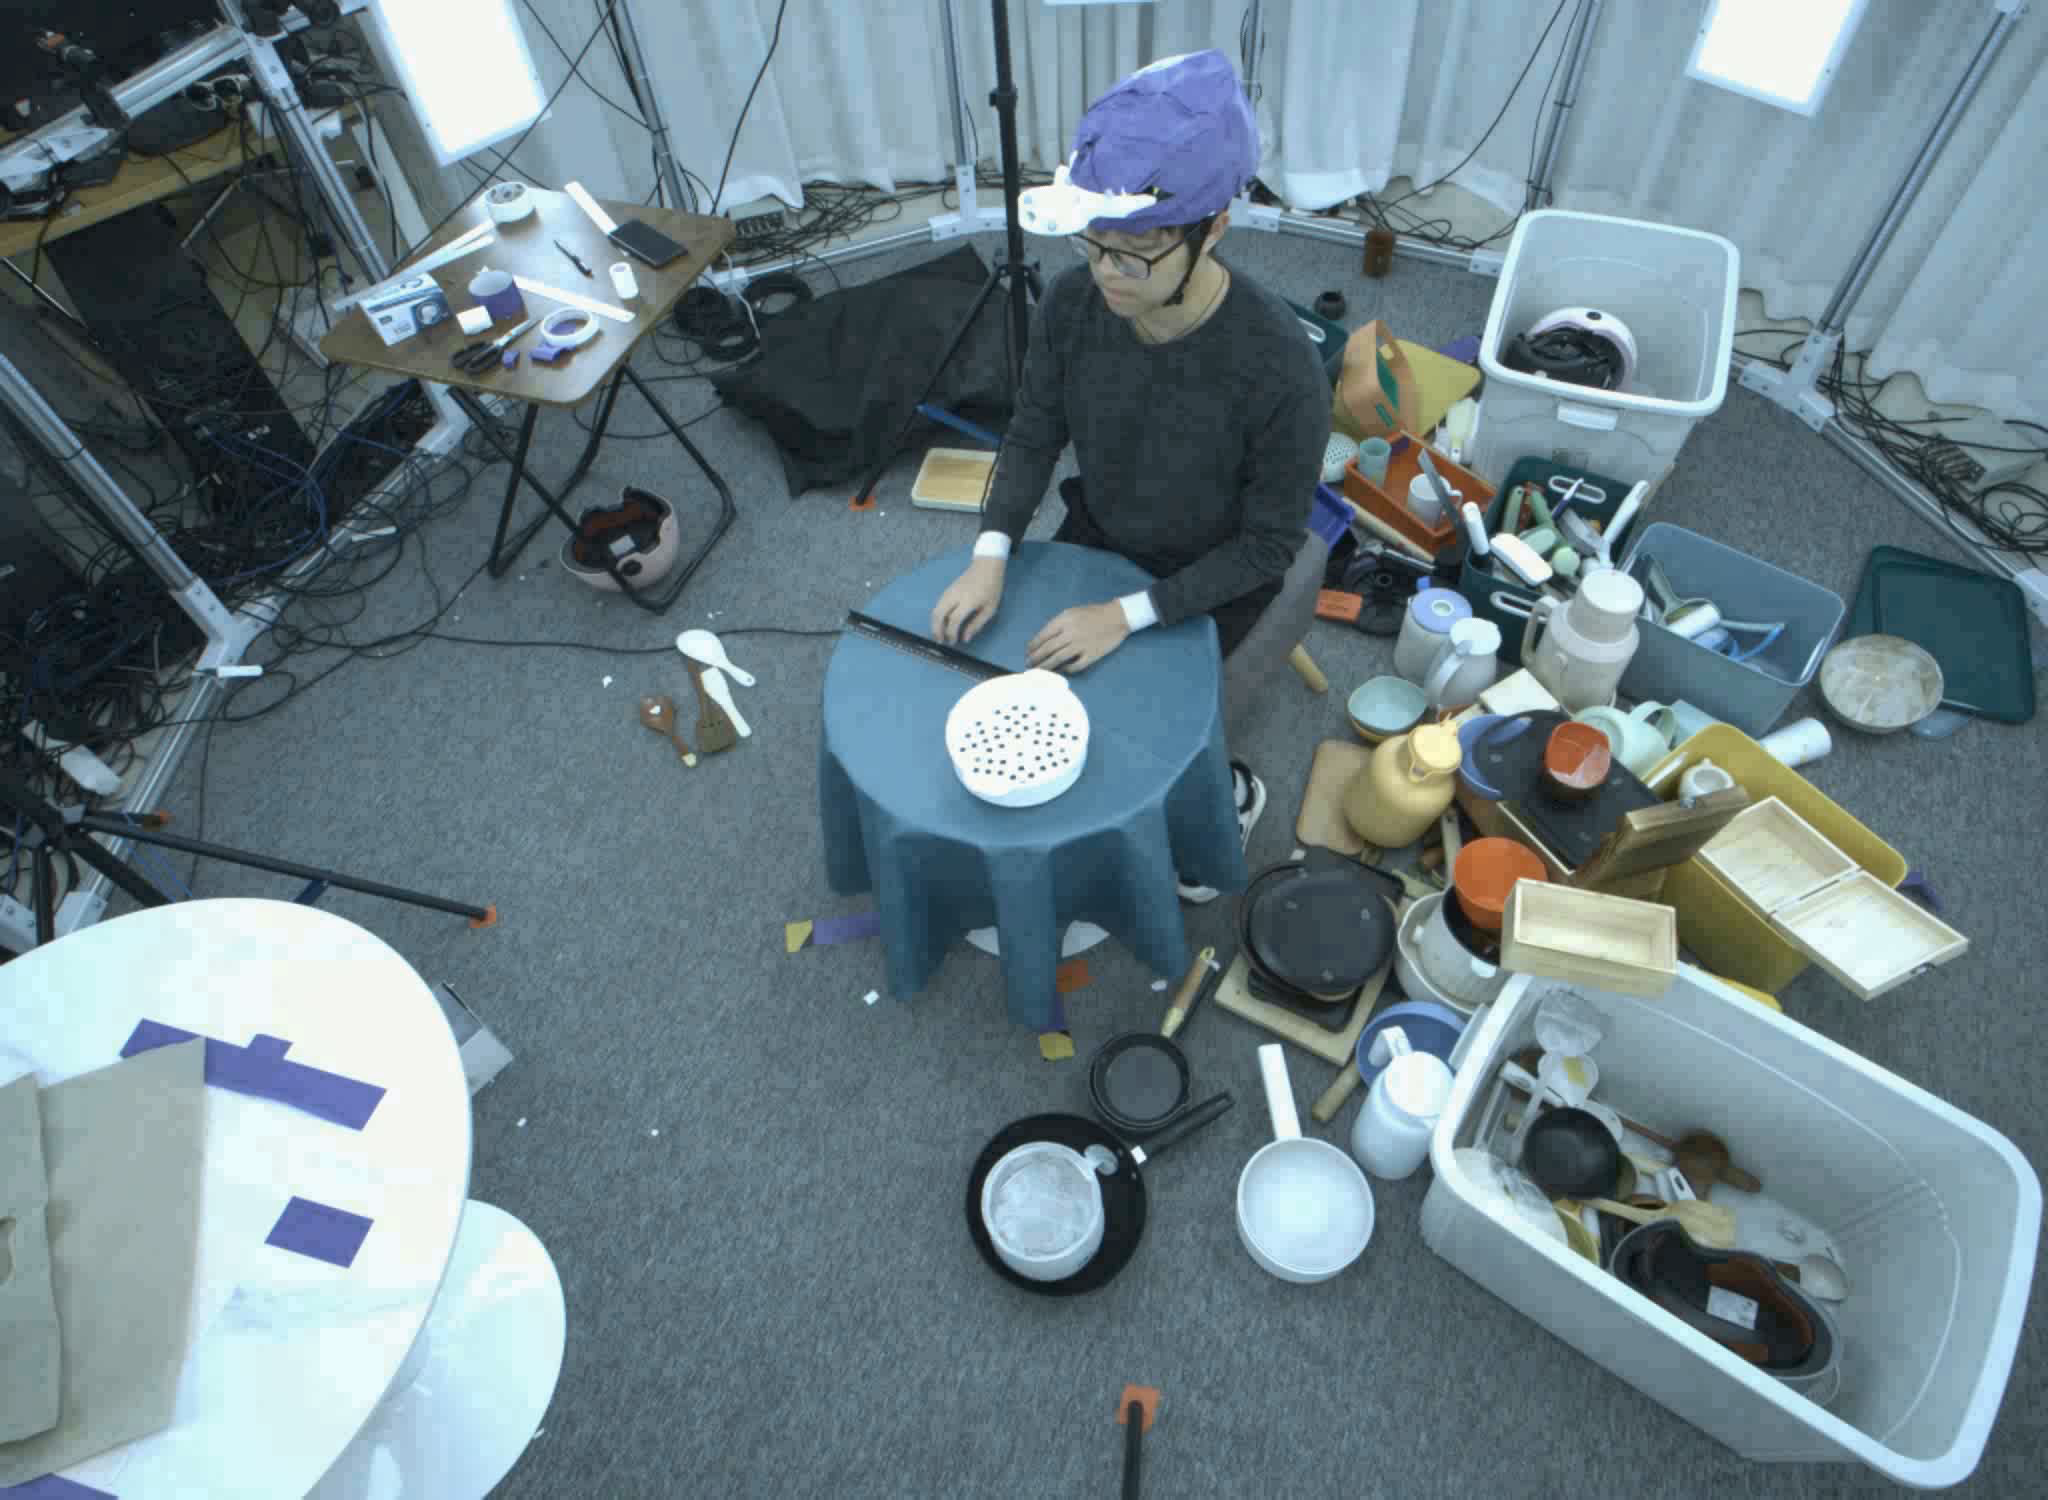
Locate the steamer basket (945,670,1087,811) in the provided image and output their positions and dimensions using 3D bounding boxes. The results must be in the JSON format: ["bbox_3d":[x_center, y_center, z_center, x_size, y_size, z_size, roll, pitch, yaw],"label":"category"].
[{"bbox_3d":[-0.010,-0.008,1.752,0.199,0.070,0.230,19,60,15],"label":"steamer basket"}]

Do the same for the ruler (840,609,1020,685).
[{"bbox_3d":[-0.150,-0.155,1.893,0.308,0.017,0.039,22,62,16],"label":"ruler"}]
